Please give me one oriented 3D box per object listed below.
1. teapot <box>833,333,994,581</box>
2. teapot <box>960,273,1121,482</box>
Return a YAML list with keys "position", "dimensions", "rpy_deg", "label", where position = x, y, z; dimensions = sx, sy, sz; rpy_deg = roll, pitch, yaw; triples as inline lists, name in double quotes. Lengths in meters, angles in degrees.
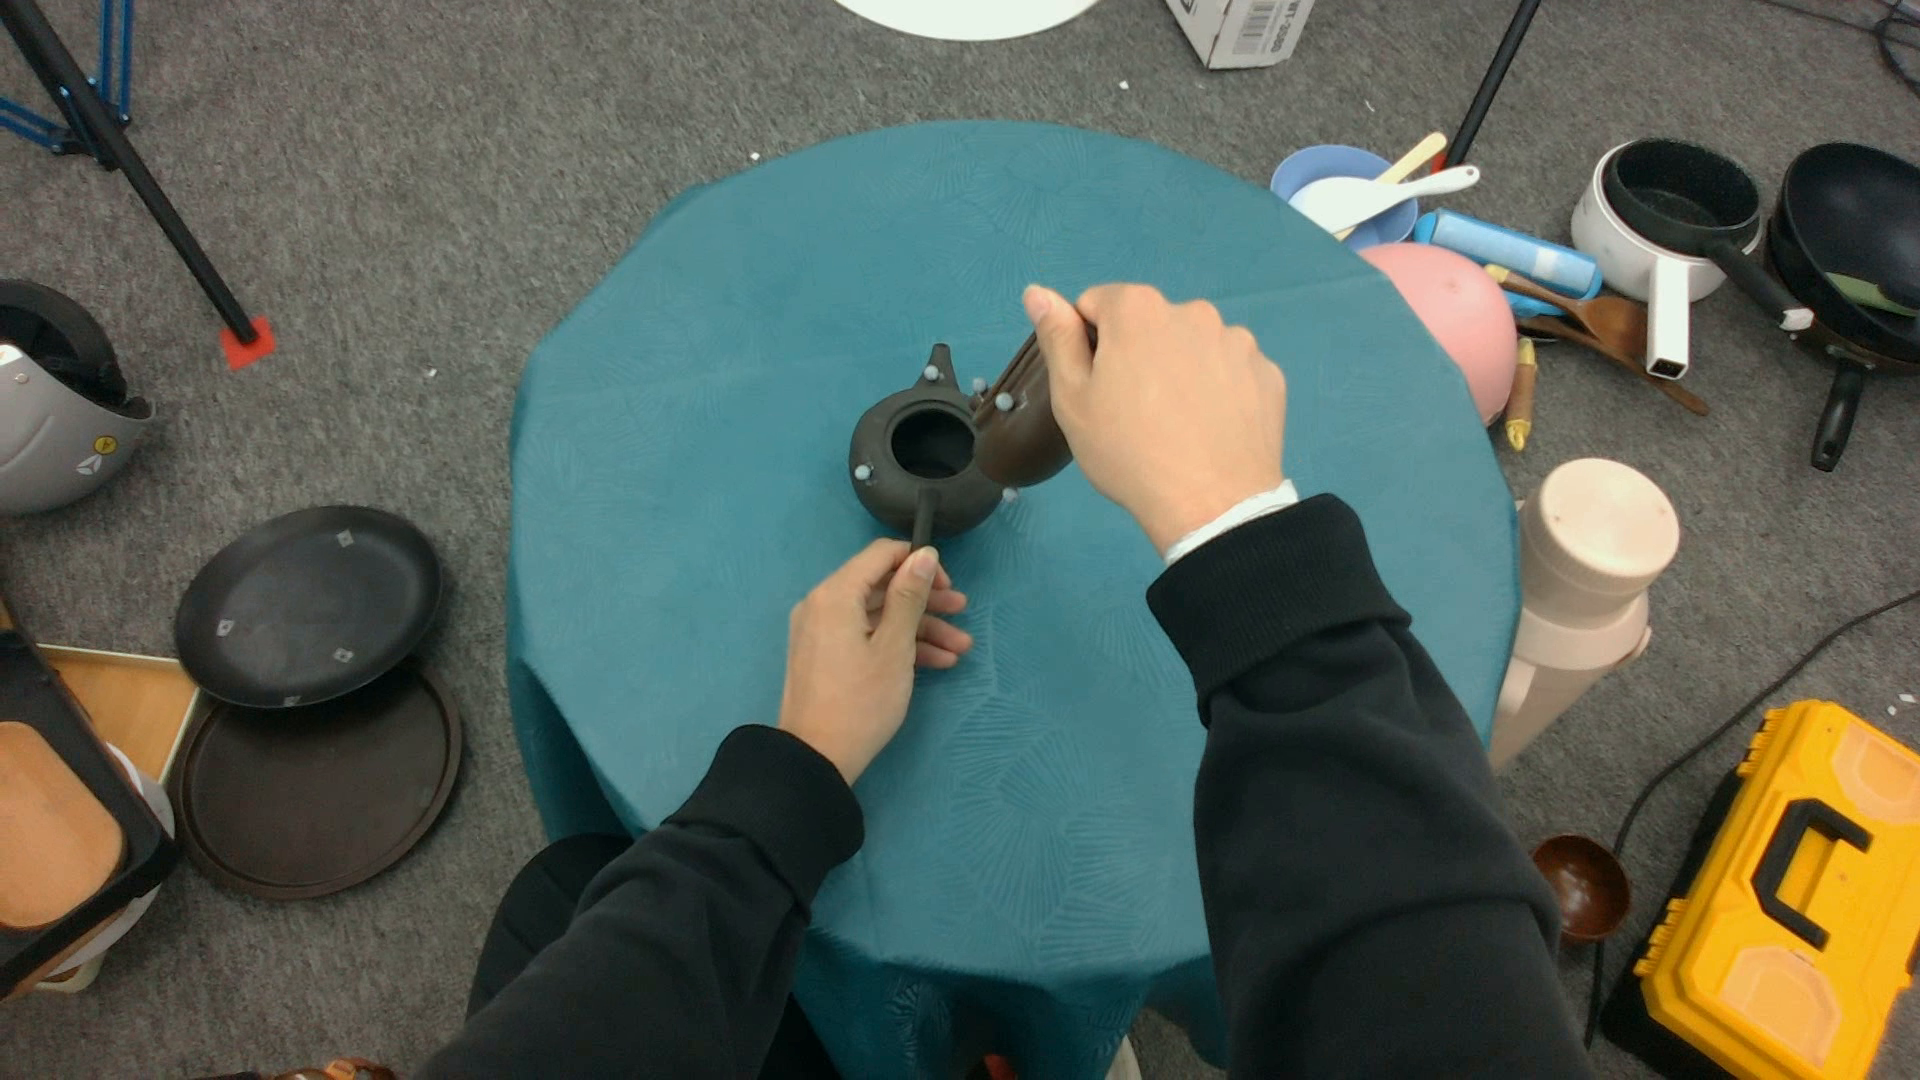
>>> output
- position: [-0.026, -0.045, 0.777]
  dimensions: [0.092, 0.064, 0.155]
  rpy_deg: [6, 59, -1]
  label: "teapot"
- position: [0.039, -0.077, 0.651]
  dimensions: [0.054, 0.153, 0.103]
  rpy_deg: [30, 62, 1]
  label: "teapot"
